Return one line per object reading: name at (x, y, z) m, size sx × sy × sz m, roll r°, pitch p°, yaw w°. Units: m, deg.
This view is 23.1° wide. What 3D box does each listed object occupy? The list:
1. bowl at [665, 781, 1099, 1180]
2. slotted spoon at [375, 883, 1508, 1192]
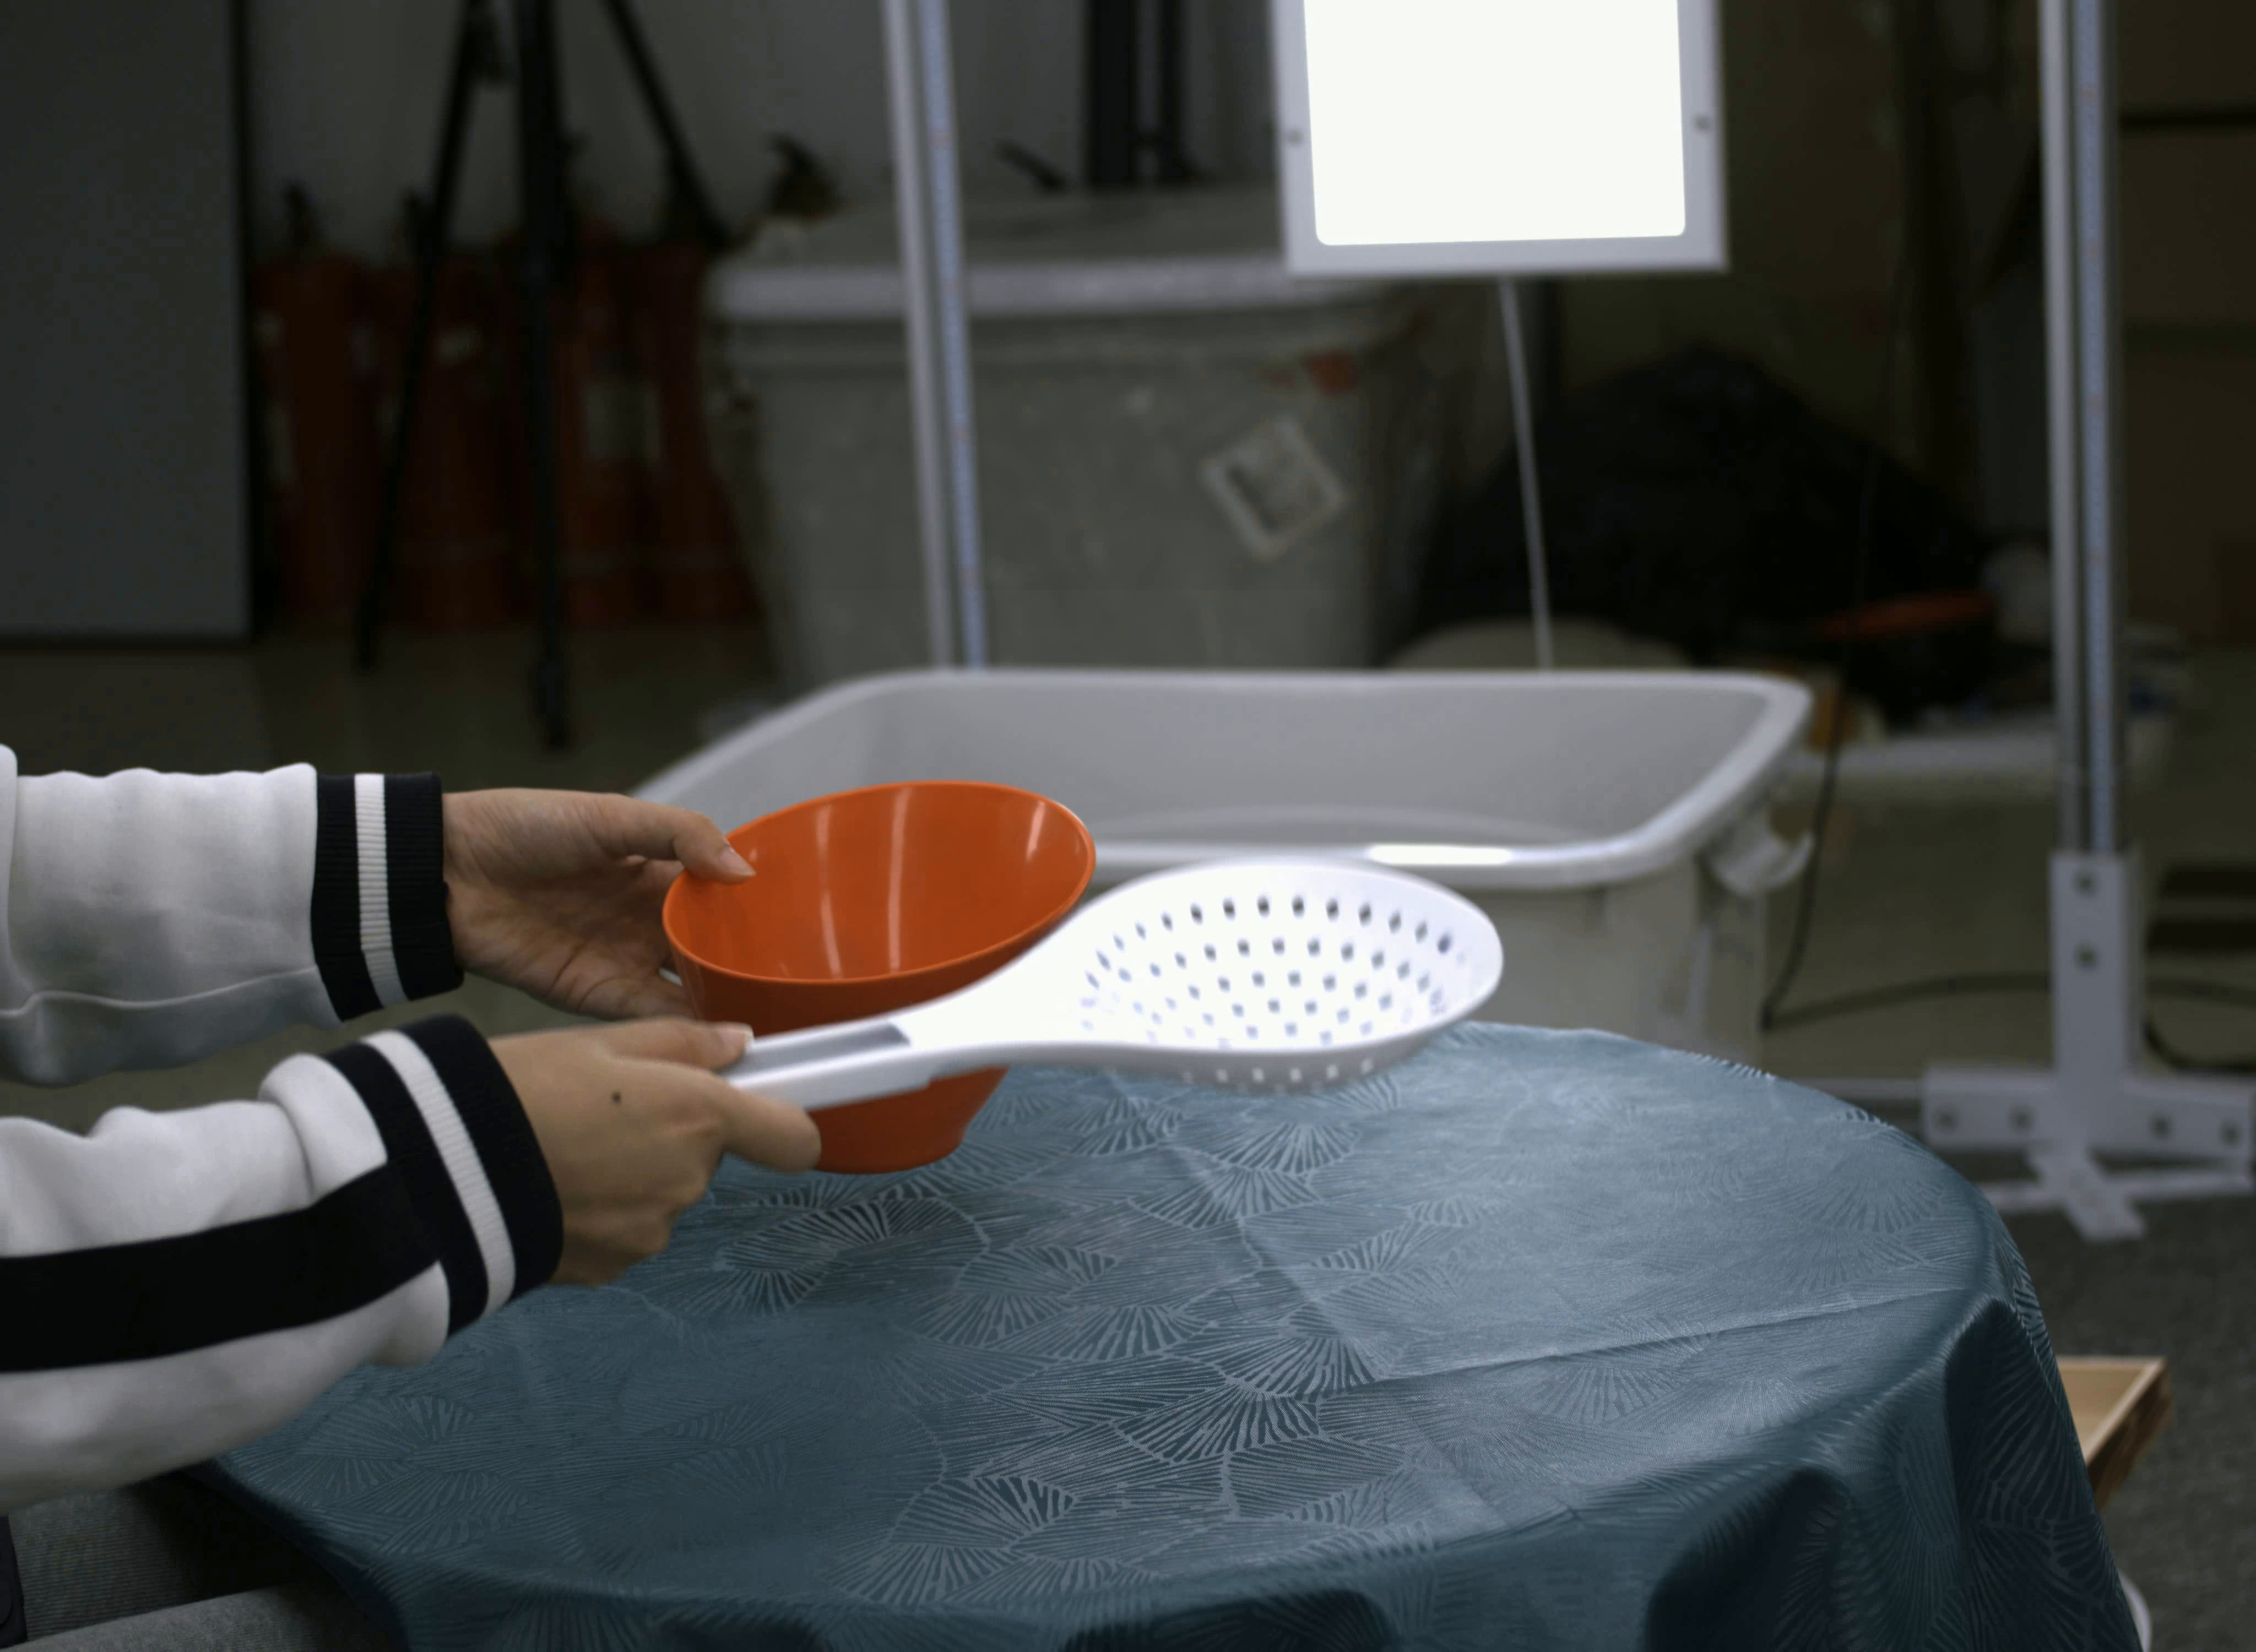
bowl at (-0.083, 0.057, 1.878) m, size 0.147 × 0.105 × 0.148 m, roll -1°, pitch 21°, yaw -1°
slotted spoon at (-0.051, 0.067, 1.626) m, size 0.343 × 0.046 × 0.138 m, roll -5°, pitch 22°, yaw -22°
